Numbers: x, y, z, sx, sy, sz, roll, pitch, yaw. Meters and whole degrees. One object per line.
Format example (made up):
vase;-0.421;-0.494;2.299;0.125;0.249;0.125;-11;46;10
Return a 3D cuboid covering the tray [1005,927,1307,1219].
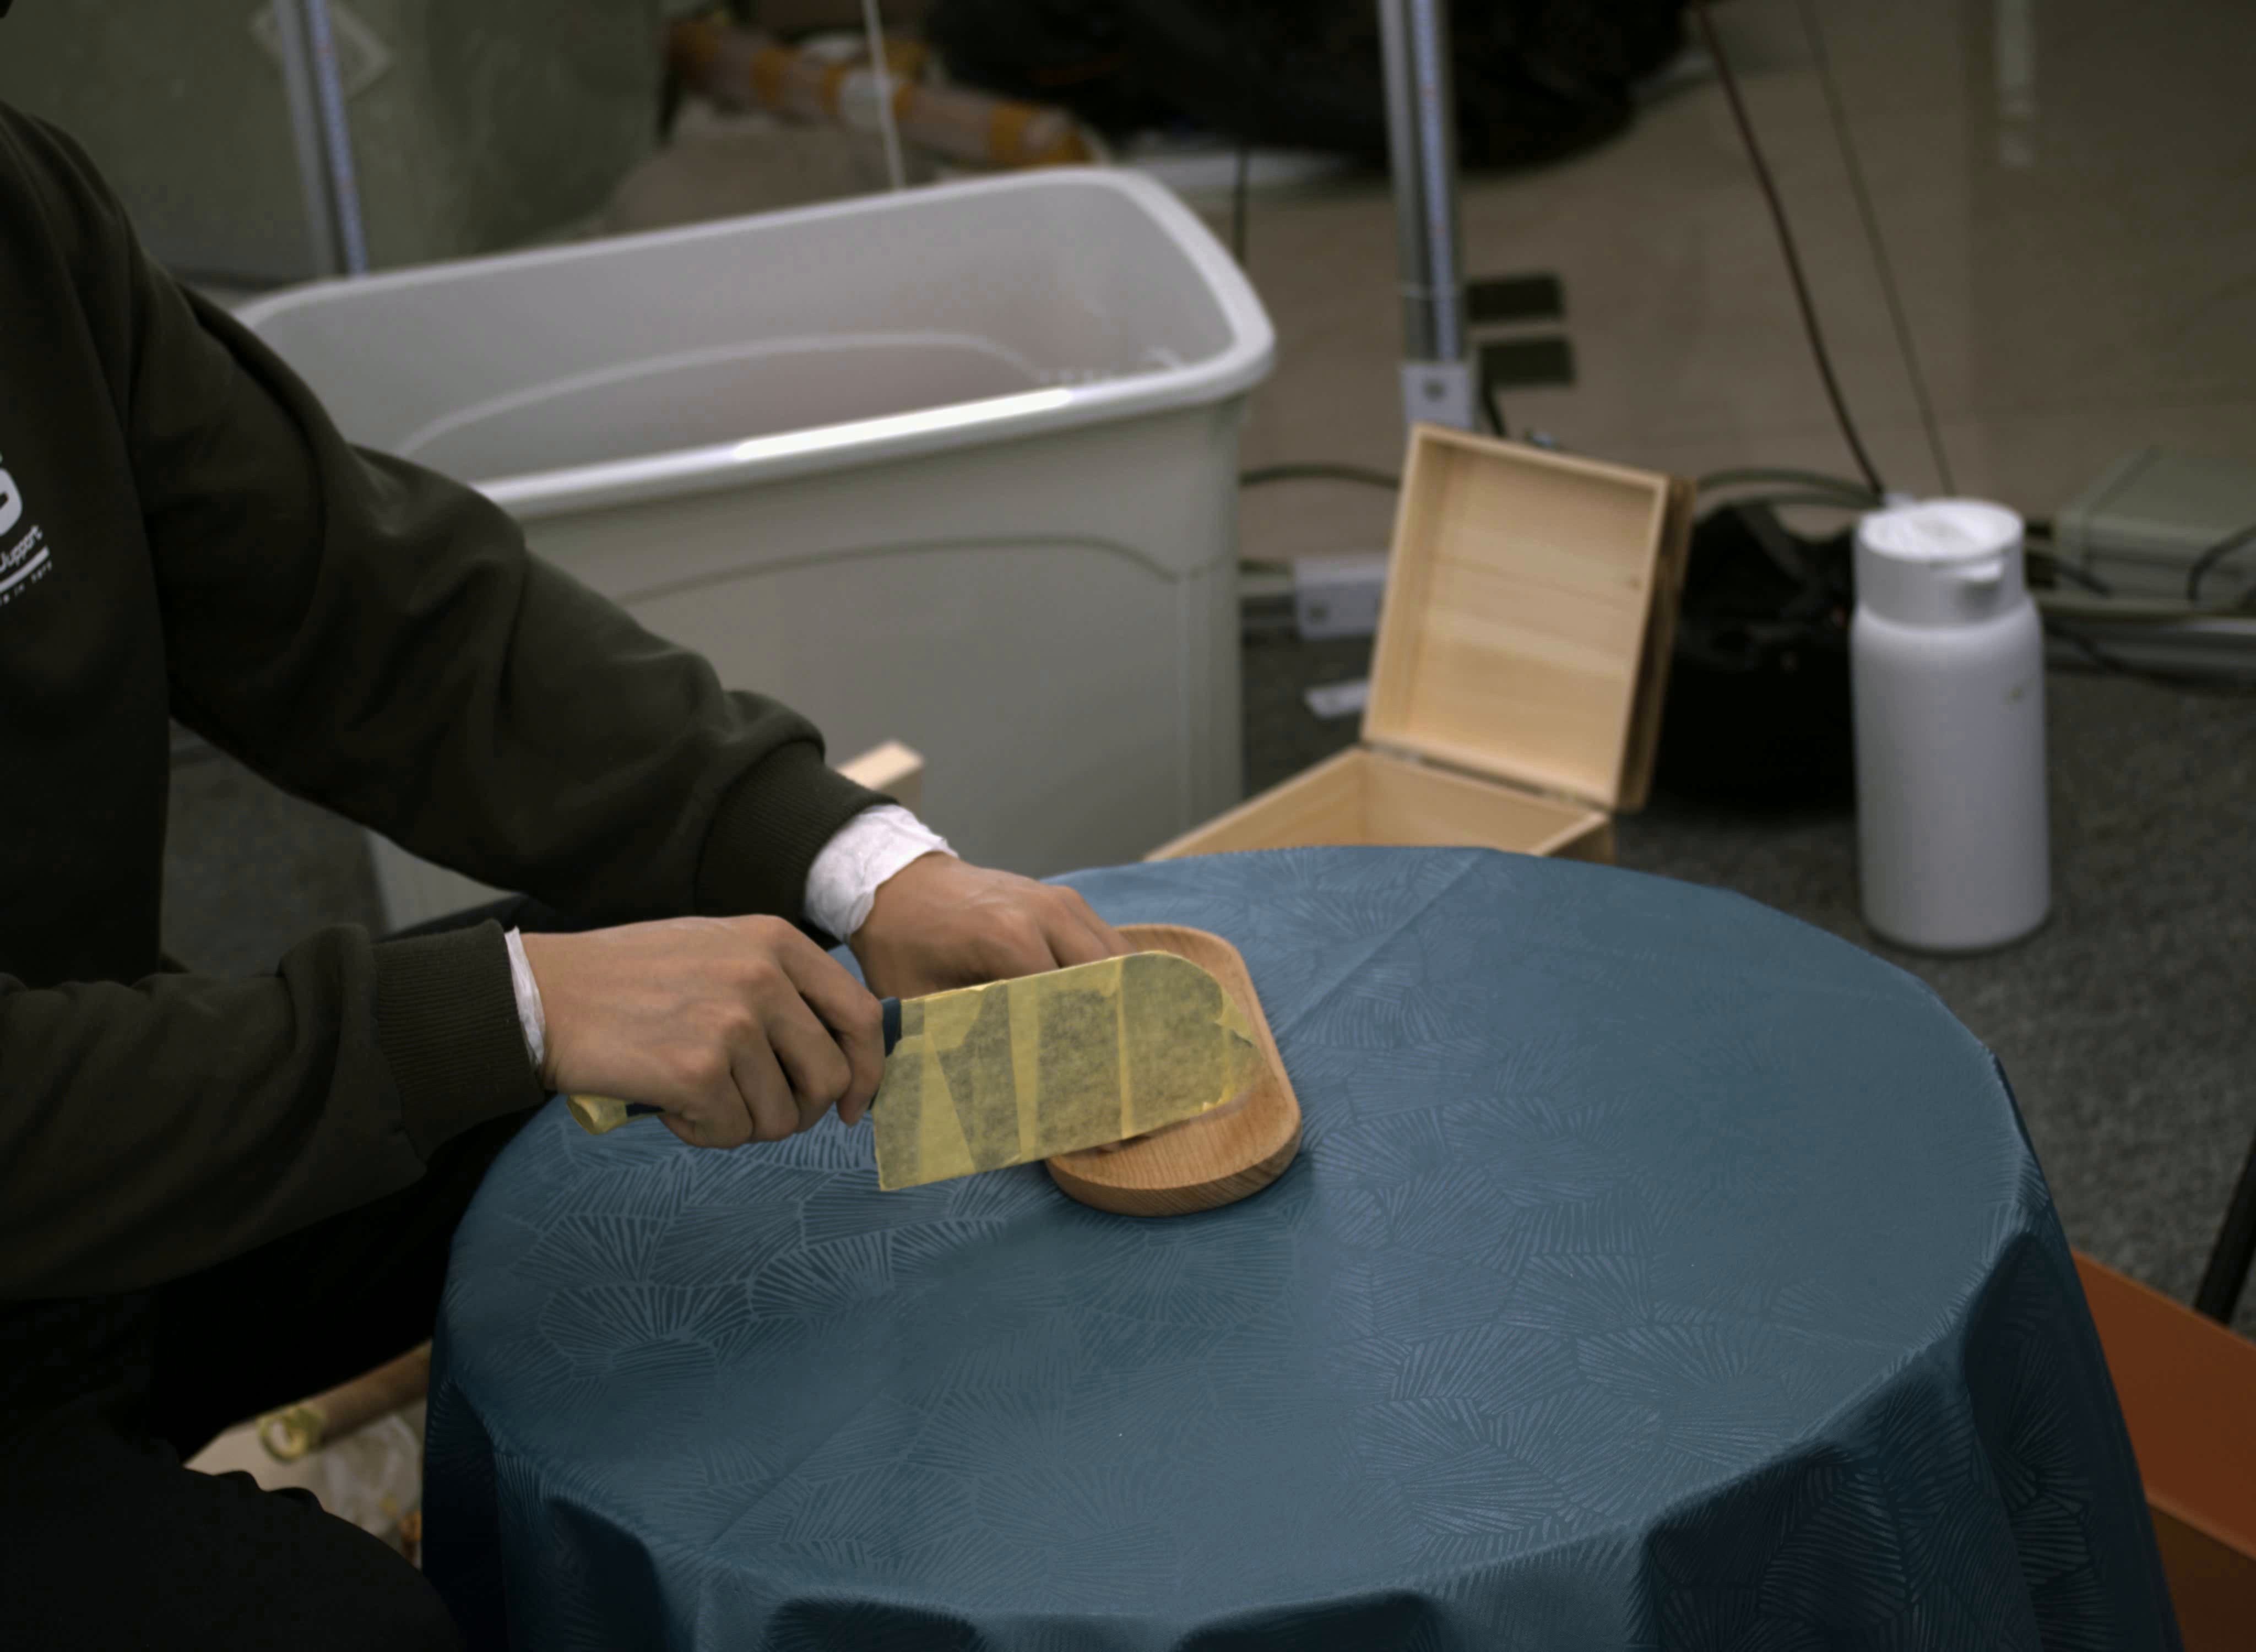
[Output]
tray;0.009;0.095;2.224;0.101;0.020;0.228;-10;26;-5

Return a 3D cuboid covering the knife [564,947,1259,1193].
knife;-0.076;0.096;2.119;0.289;0.082;0.027;-7;13;-27
